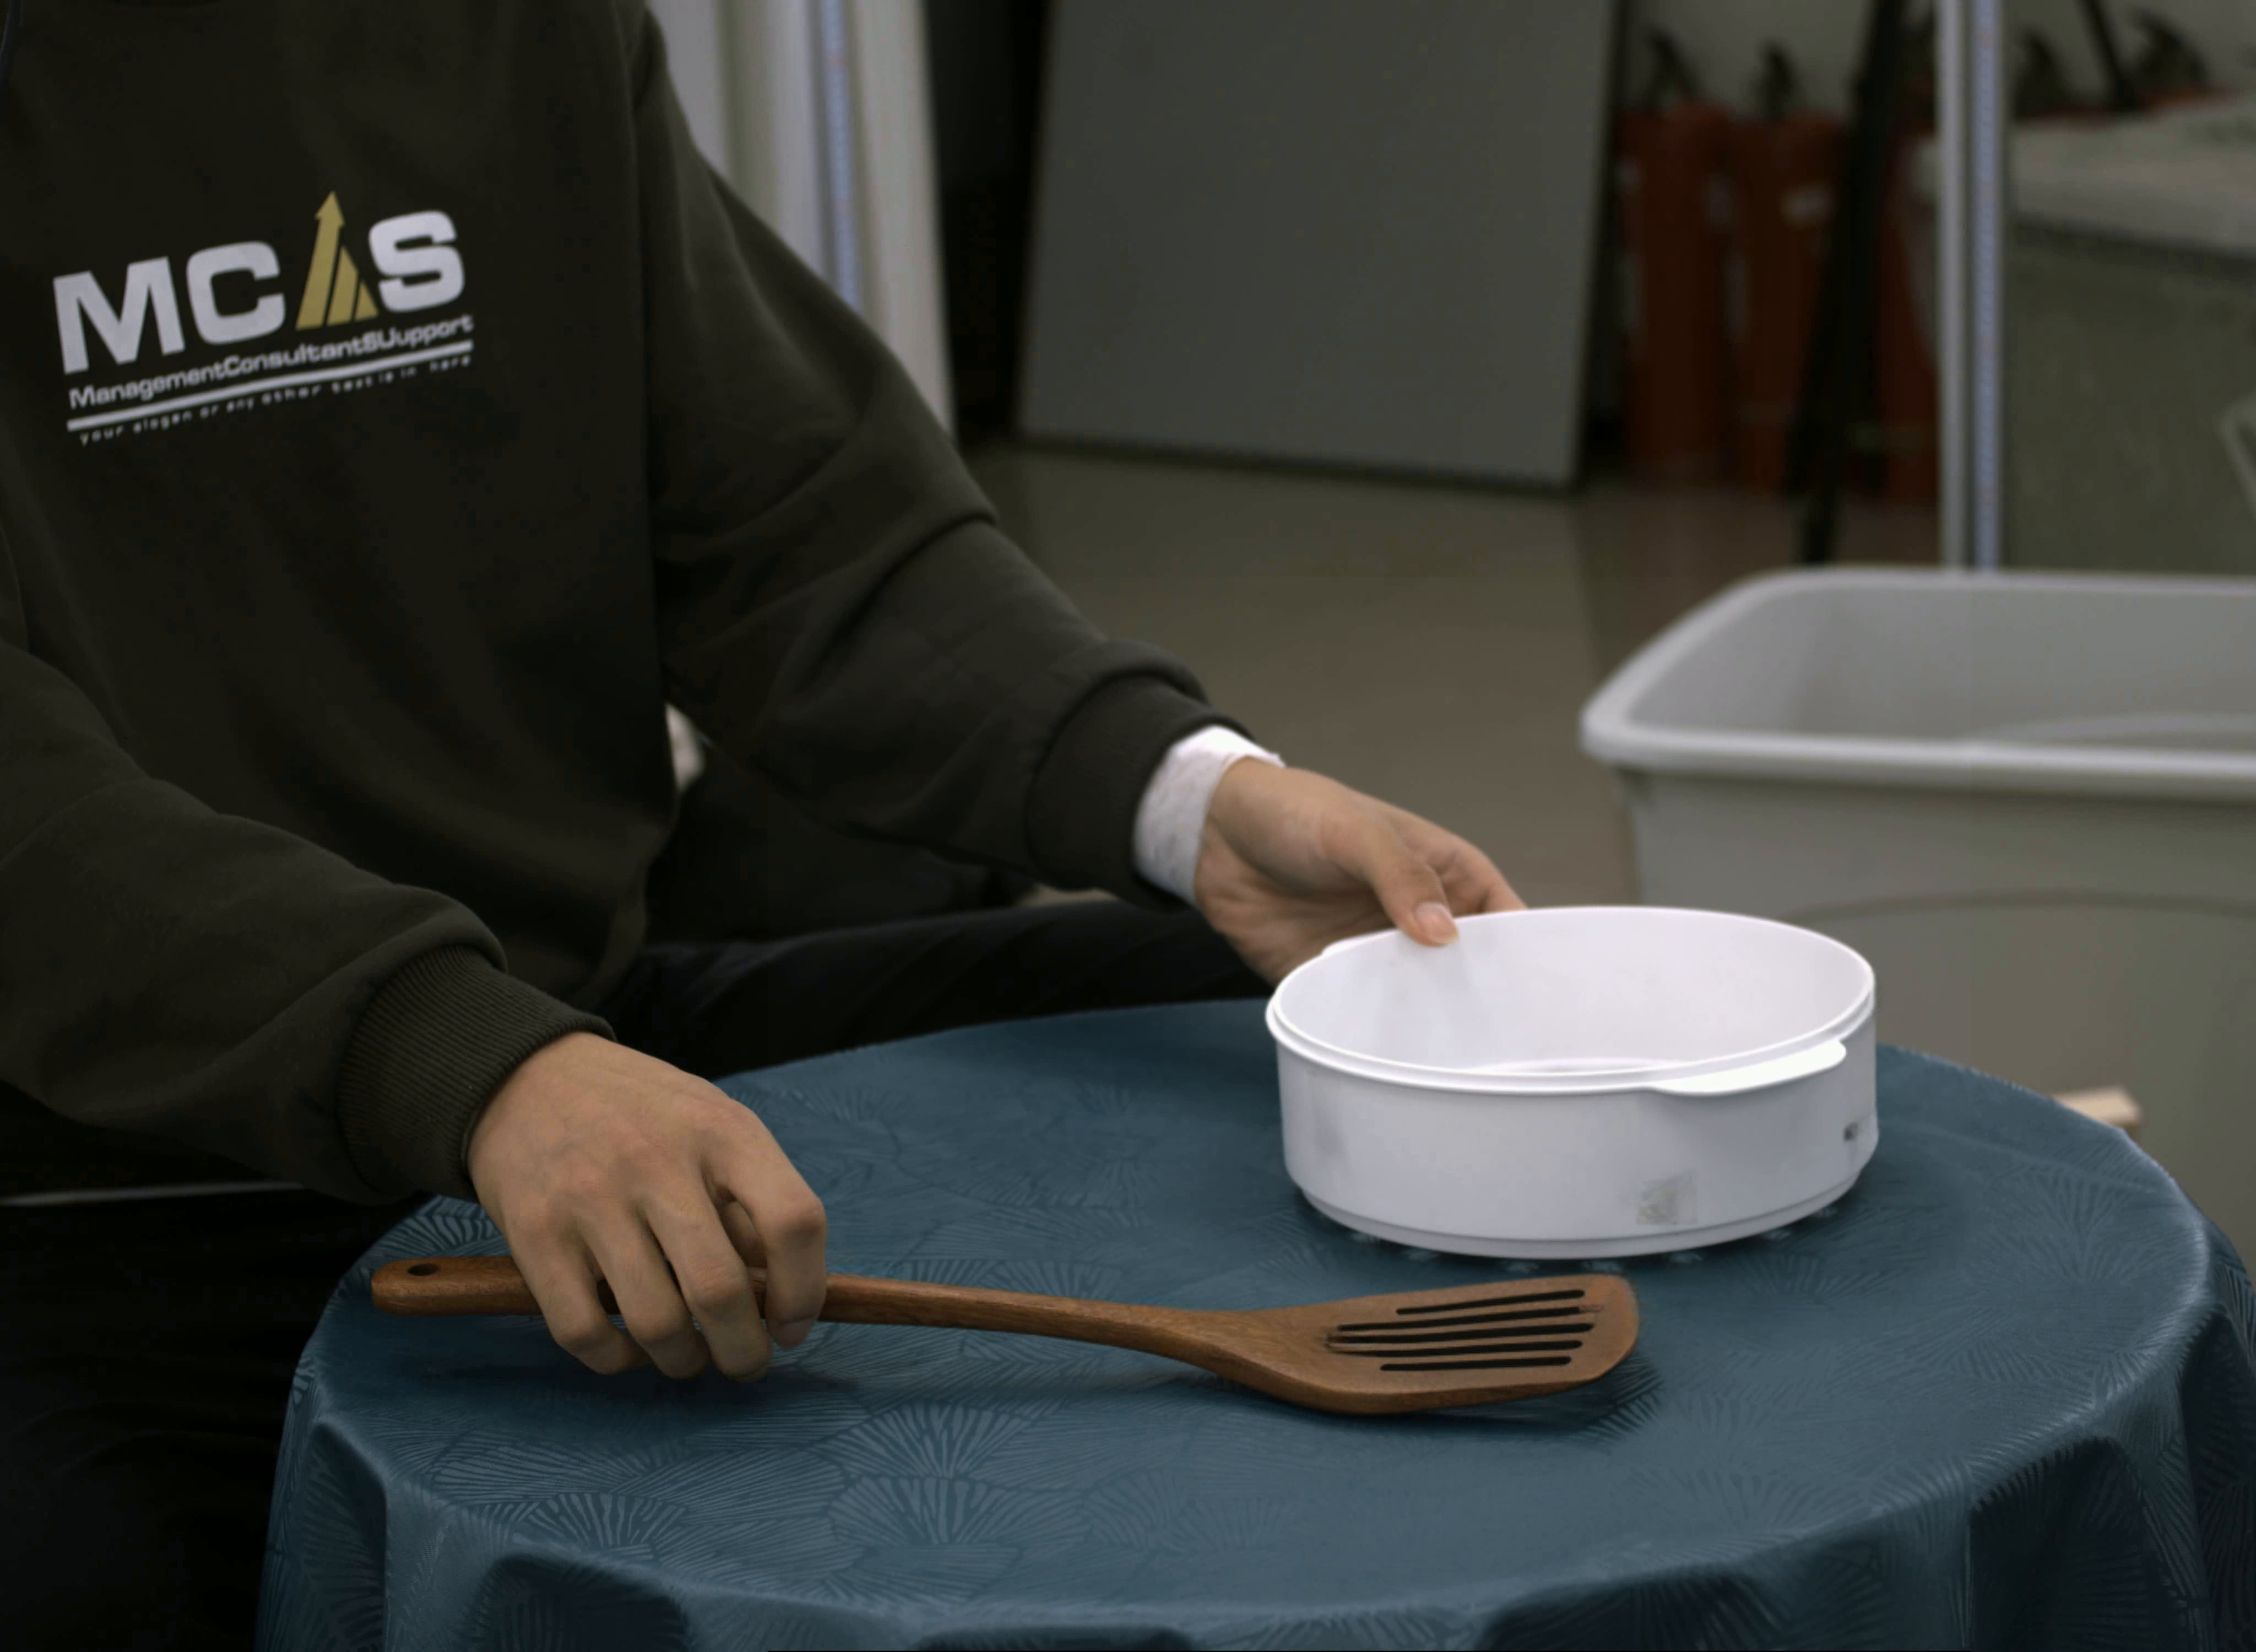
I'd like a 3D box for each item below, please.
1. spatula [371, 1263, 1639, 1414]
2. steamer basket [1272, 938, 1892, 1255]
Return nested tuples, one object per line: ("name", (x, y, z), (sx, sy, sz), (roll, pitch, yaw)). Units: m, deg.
("spatula", (-0.040, 0.148, 1.598), (0.382, 0.024, 0.085), (2, 16, 10))
("steamer basket", (0.147, 0.087, 1.738), (0.197, 0.070, 0.233), (-9, 11, -28))
